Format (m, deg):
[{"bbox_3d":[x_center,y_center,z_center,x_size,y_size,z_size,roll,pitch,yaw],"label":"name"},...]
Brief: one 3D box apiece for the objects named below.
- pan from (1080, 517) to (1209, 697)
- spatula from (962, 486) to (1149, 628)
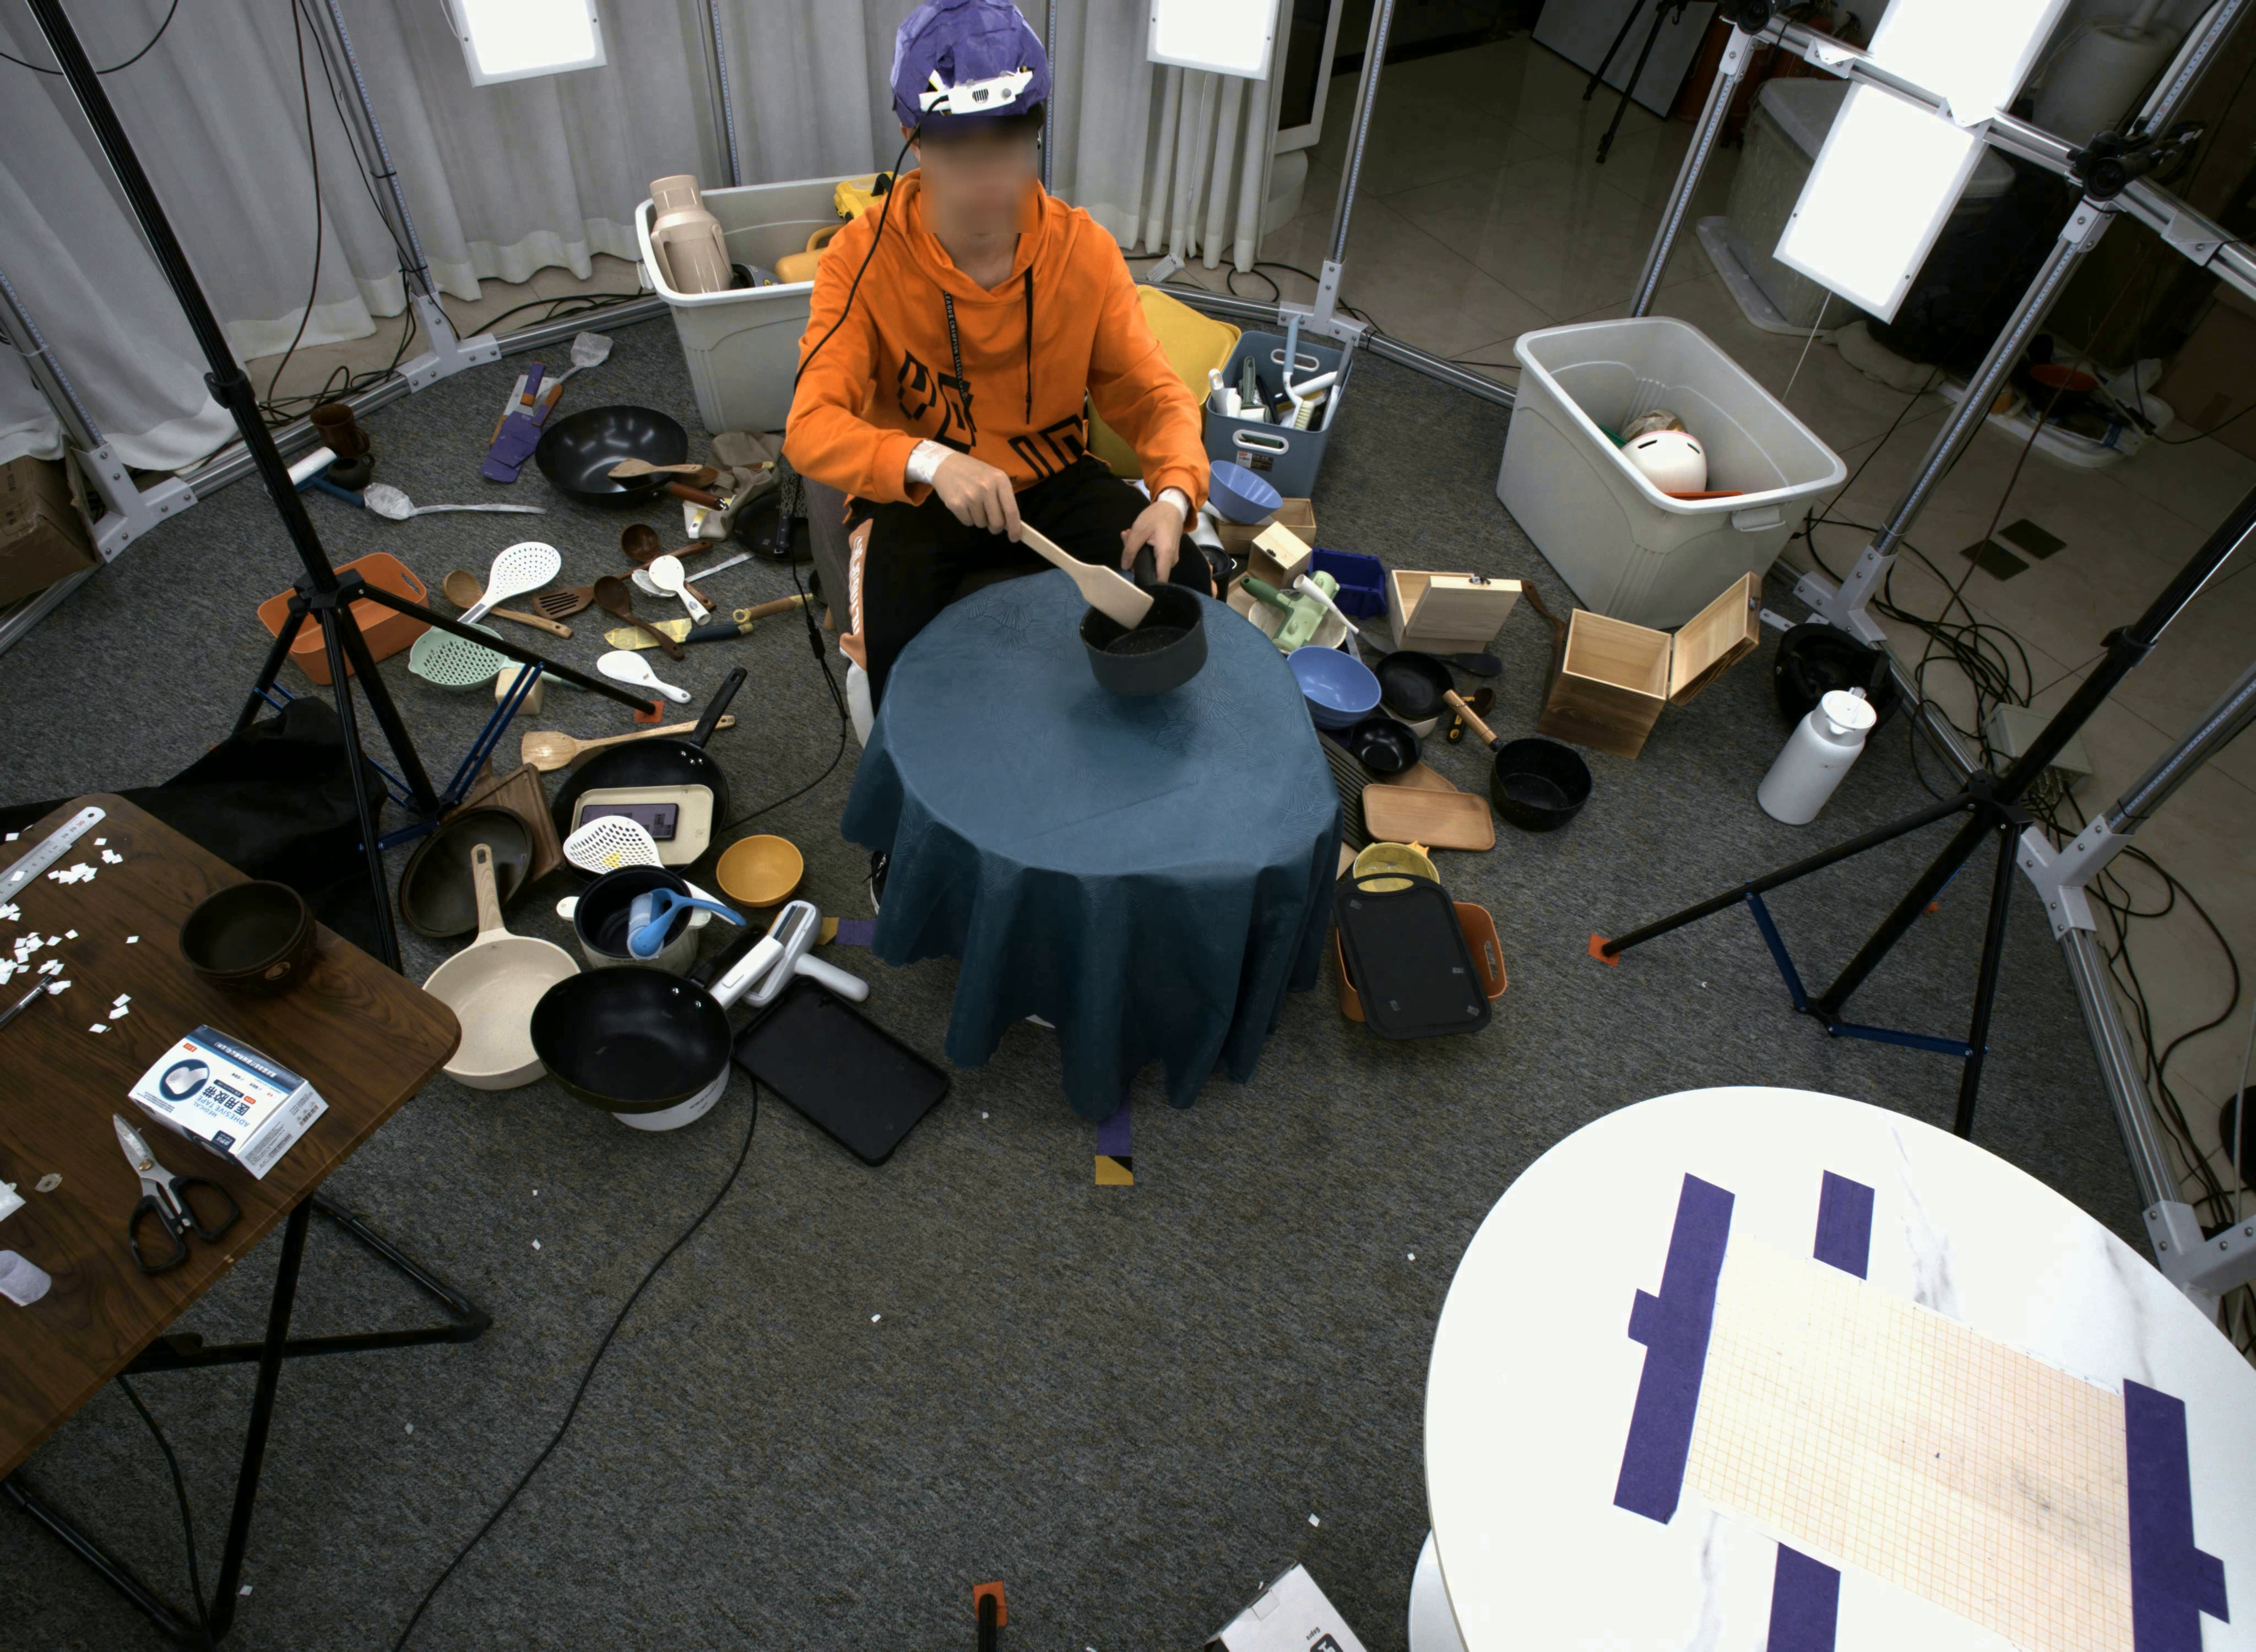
[{"bbox_3d":[0.030,-0.313,1.823,0.172,0.084,0.337,-5,43,10],"label":"pan"},{"bbox_3d":[-0.103,-0.372,1.758,0.292,0.071,0.011,35,52,-2],"label":"spatula"}]
